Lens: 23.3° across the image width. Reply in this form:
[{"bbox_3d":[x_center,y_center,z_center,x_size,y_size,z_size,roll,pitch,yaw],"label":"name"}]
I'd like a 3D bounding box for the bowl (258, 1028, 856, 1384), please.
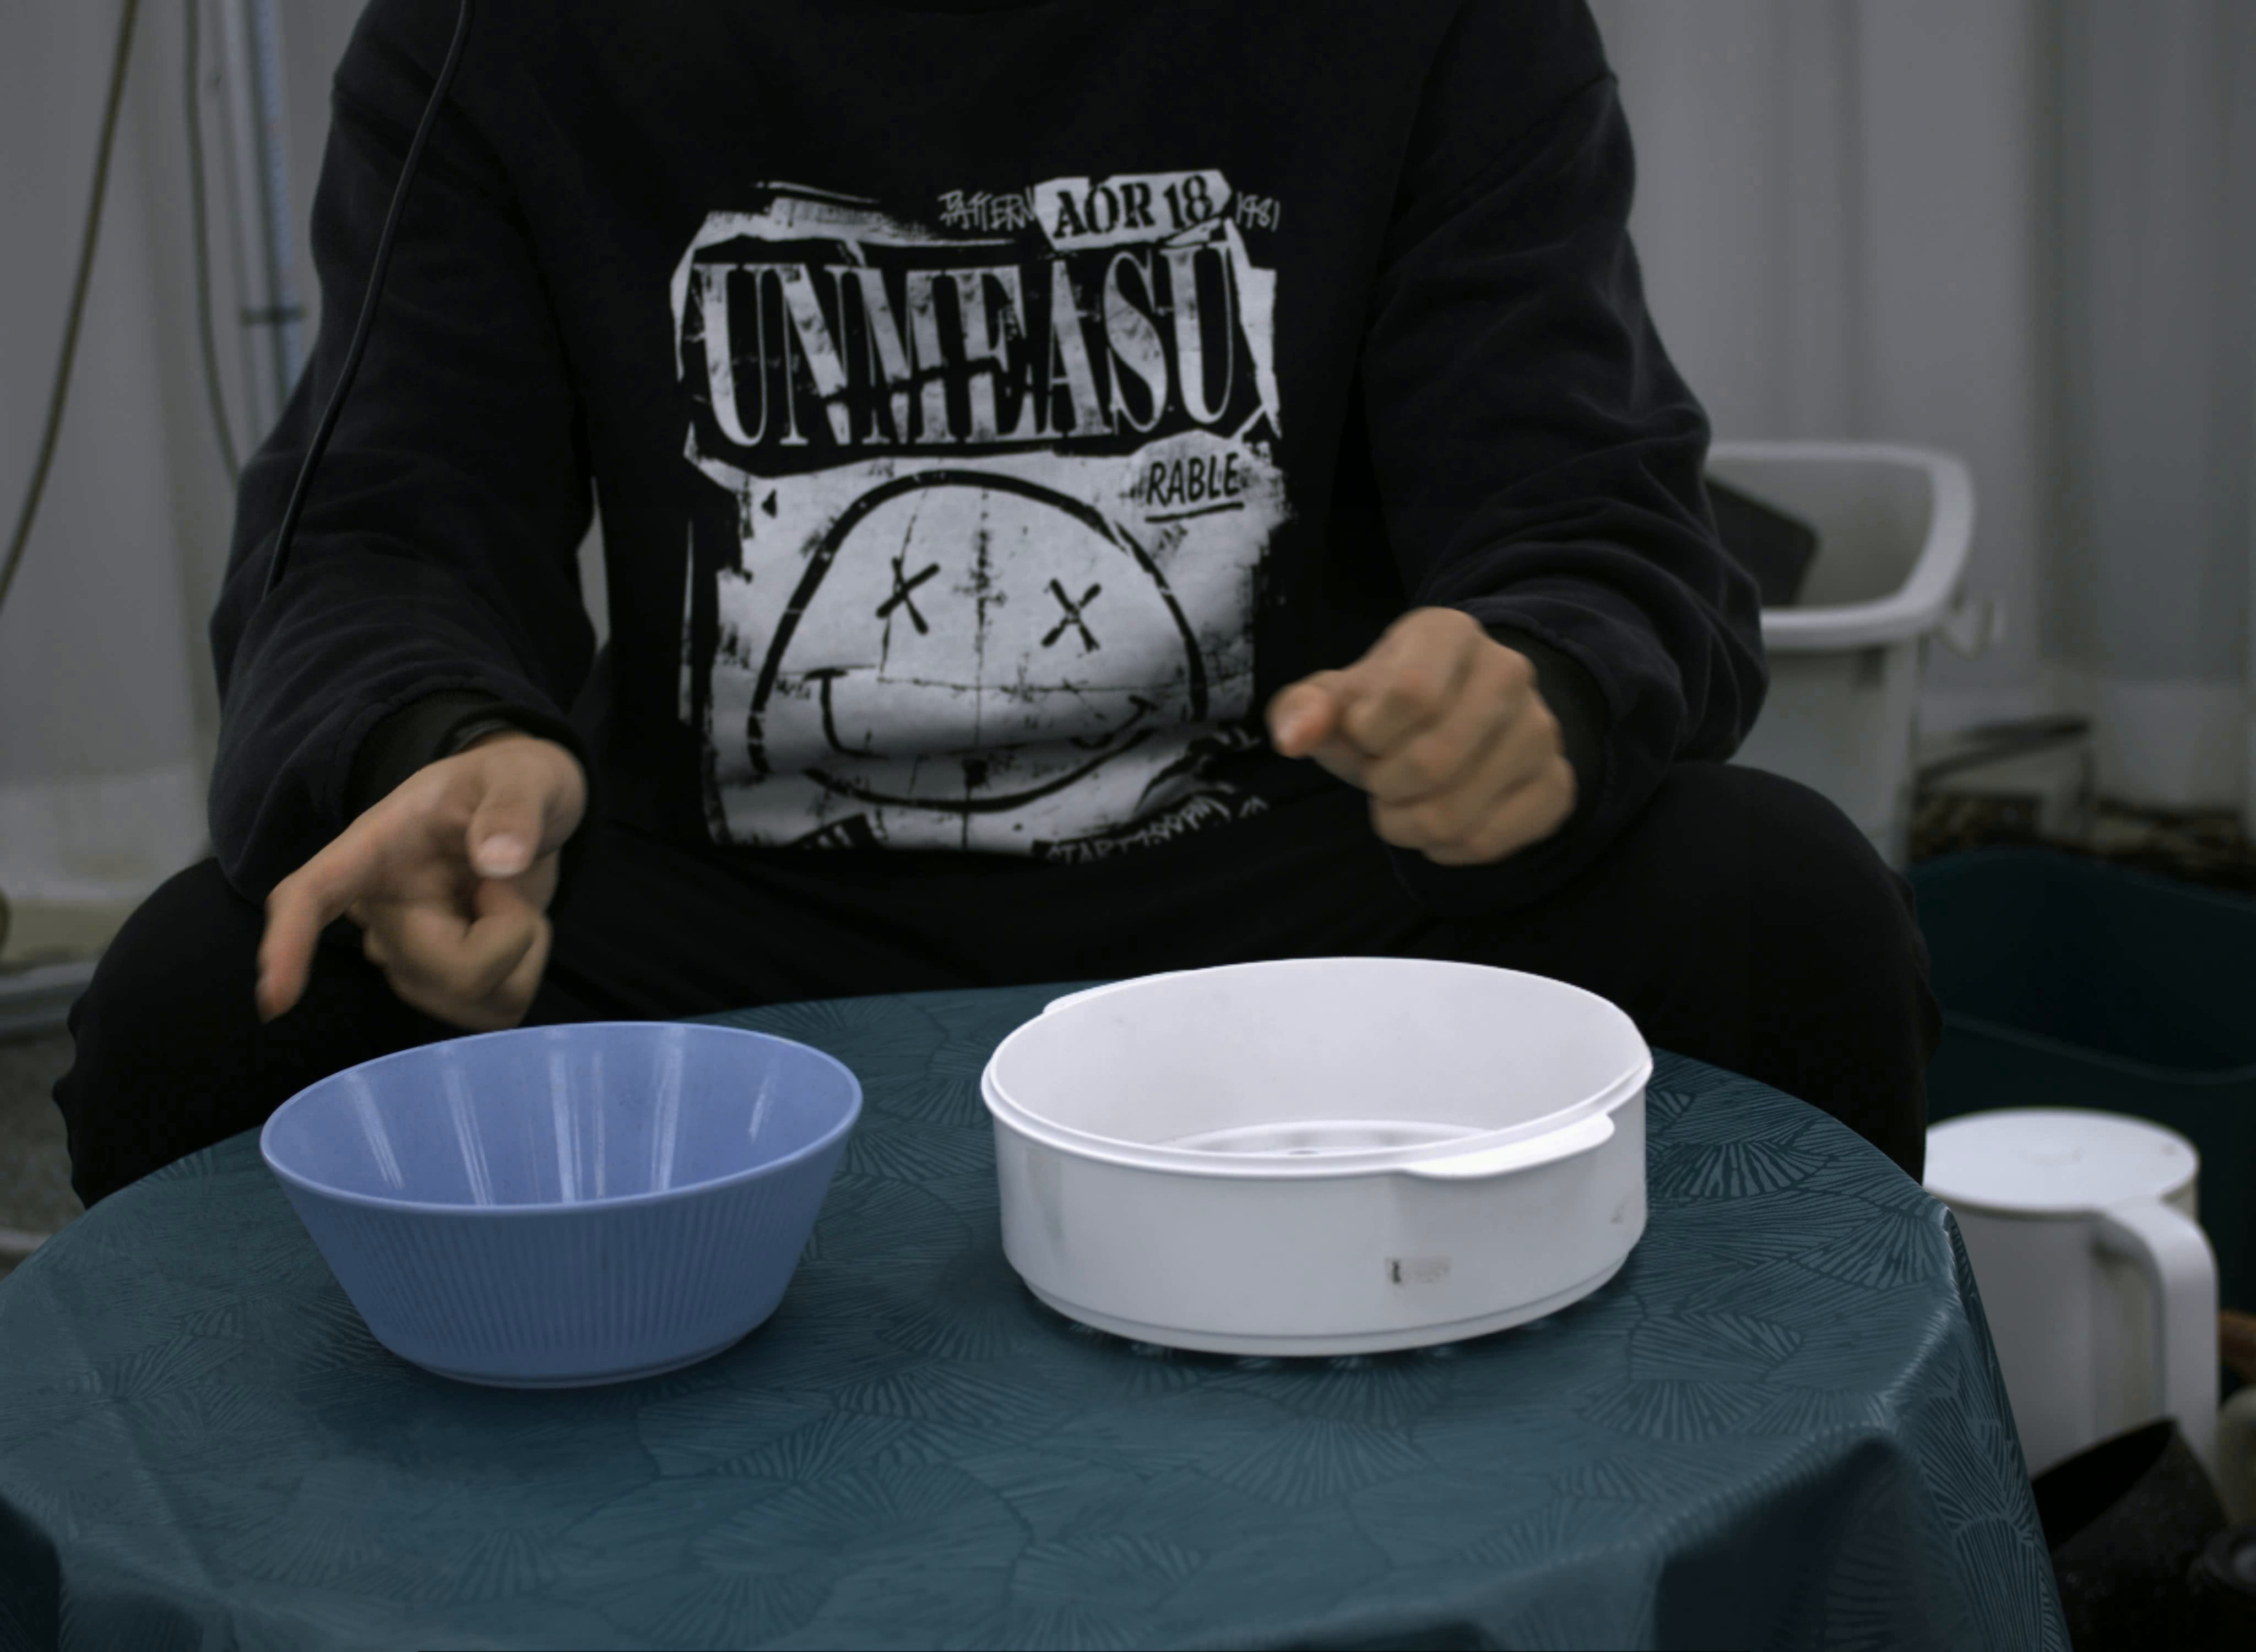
[{"bbox_3d":[-0.166,0.114,1.611,0.175,0.070,0.177,-2,14,0],"label":"bowl"}]

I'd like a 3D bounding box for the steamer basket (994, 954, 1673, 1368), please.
[{"bbox_3d":[0.061,0.099,1.628,0.201,0.069,0.232,-12,20,-31],"label":"steamer basket"}]
